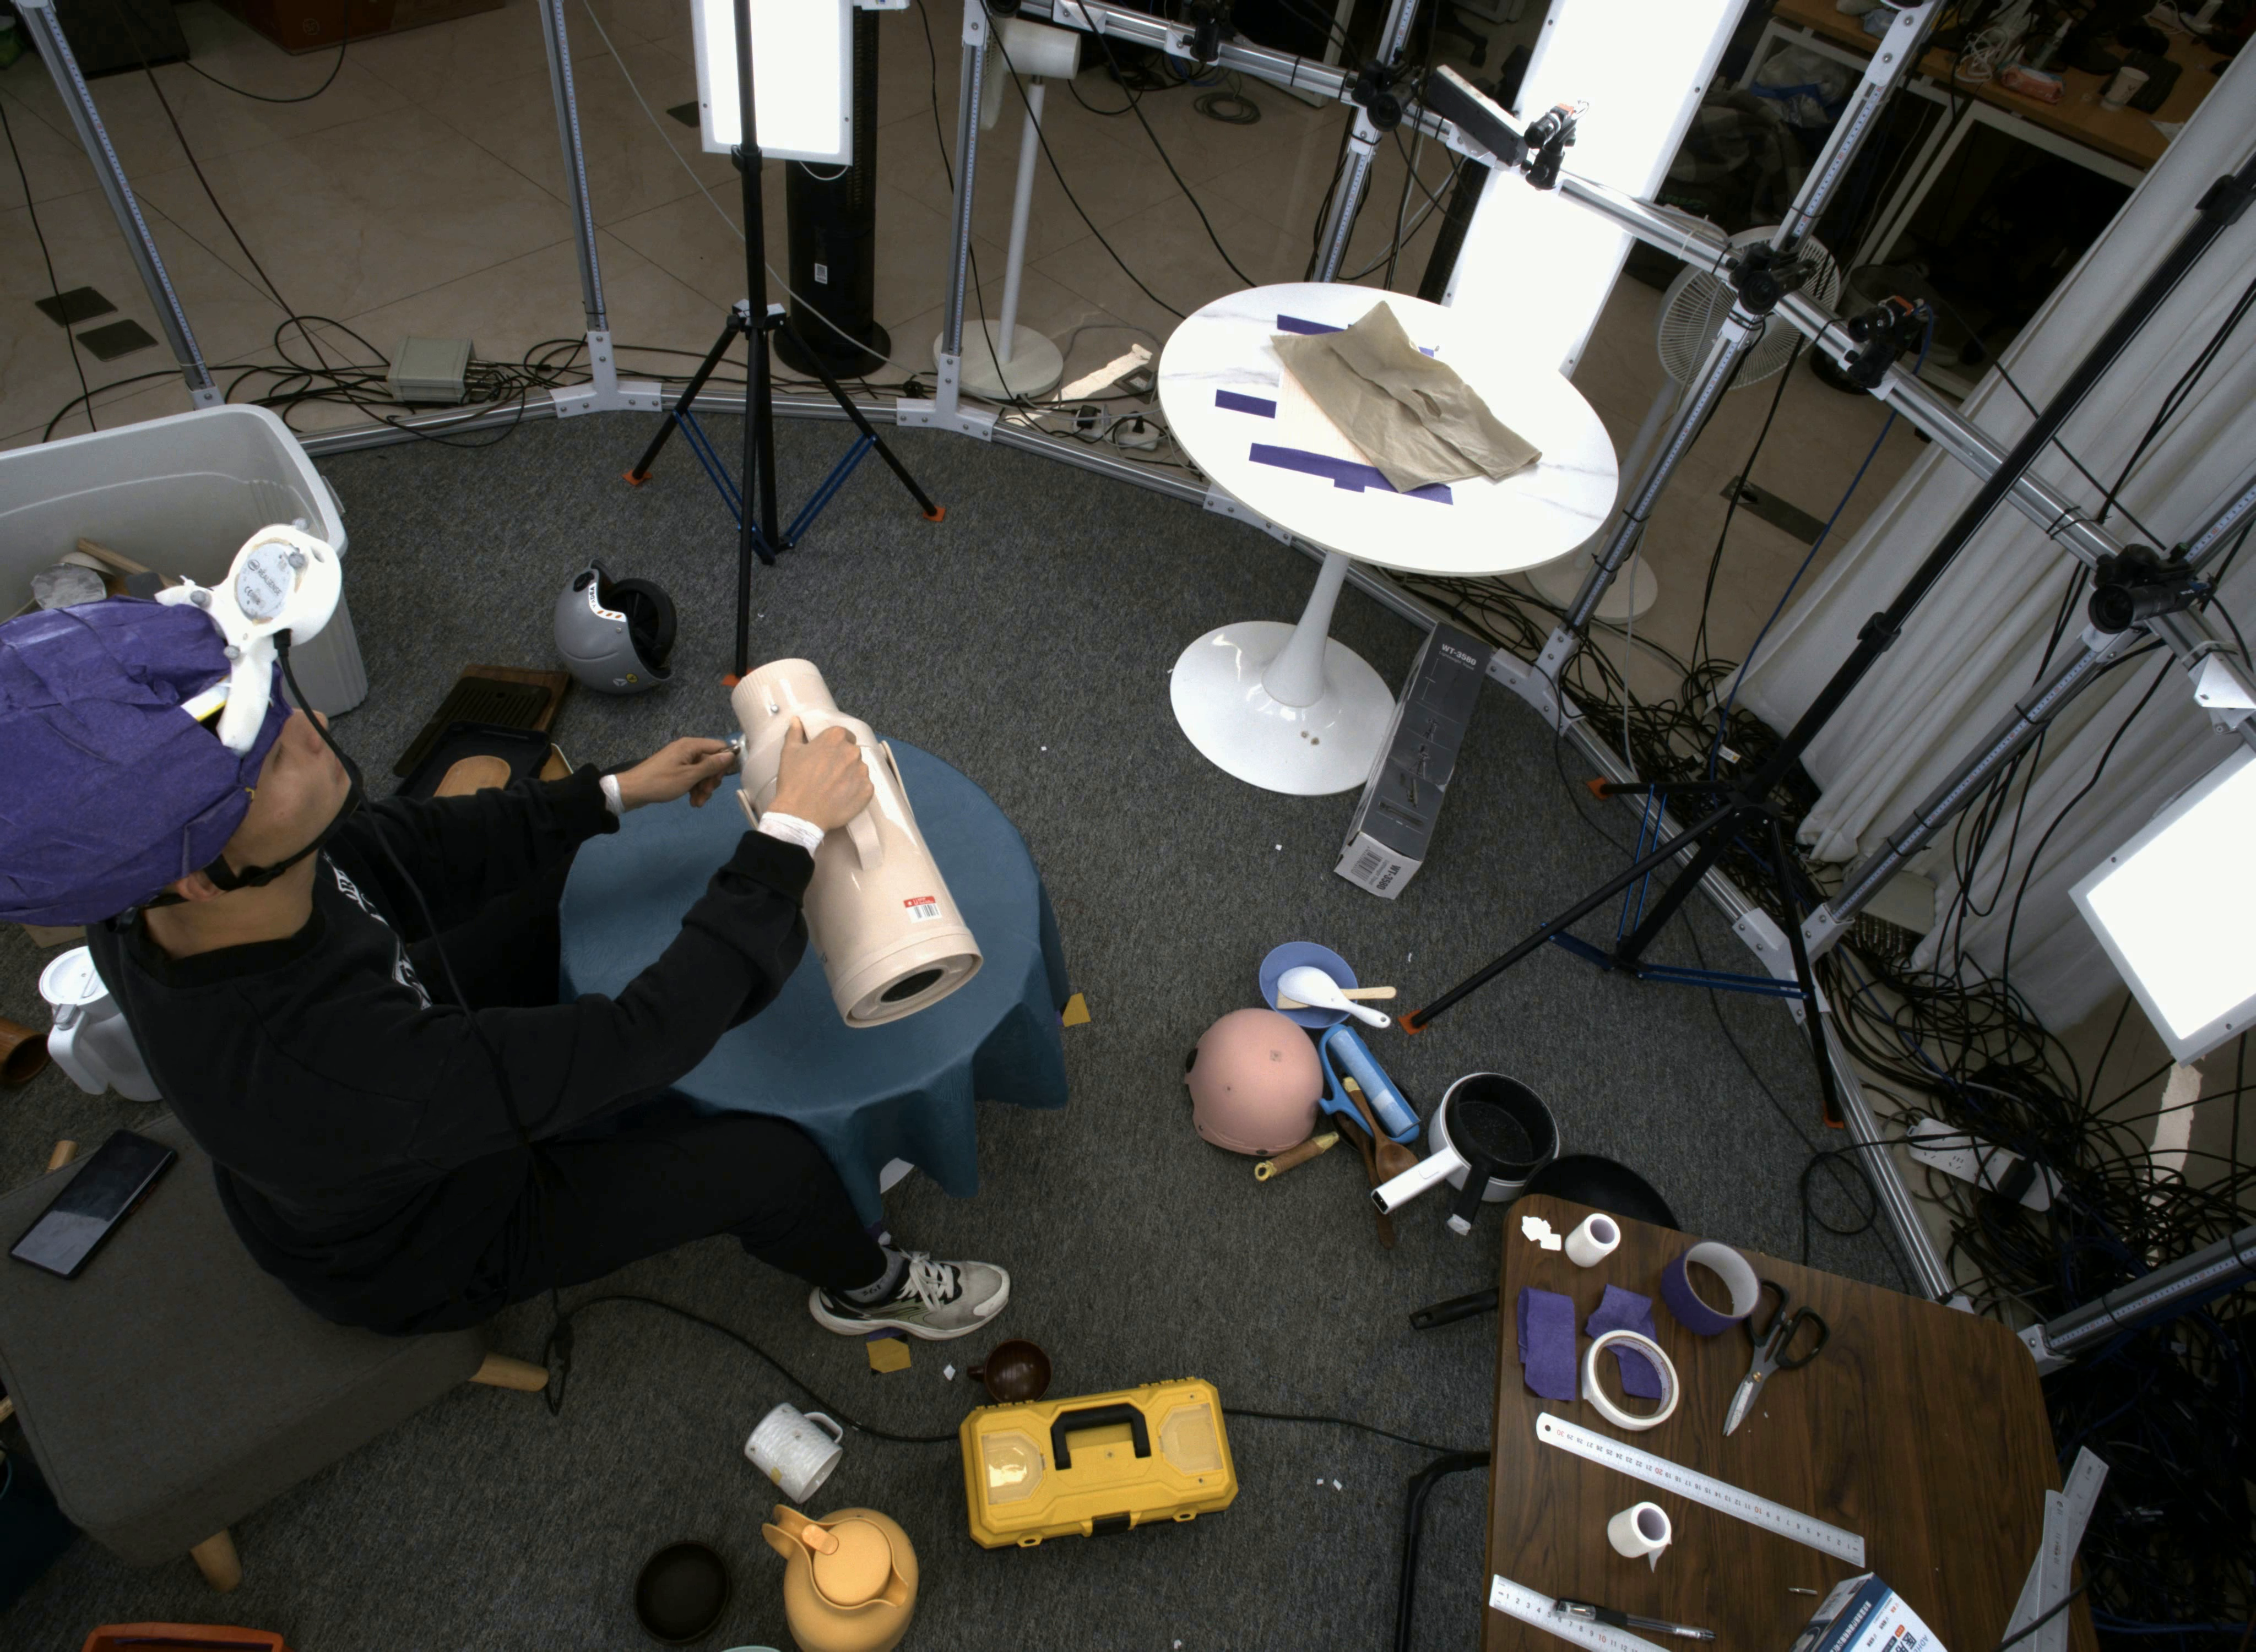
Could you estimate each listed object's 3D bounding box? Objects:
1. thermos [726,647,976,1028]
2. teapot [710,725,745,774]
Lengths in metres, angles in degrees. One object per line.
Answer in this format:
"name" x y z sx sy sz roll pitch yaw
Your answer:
"thermos" -0.314 -0.004 1.392 0.176 0.209 0.401 -20 73 -22
"teapot" -0.447 -0.089 1.582 0.128 0.060 0.090 -12 62 -18
